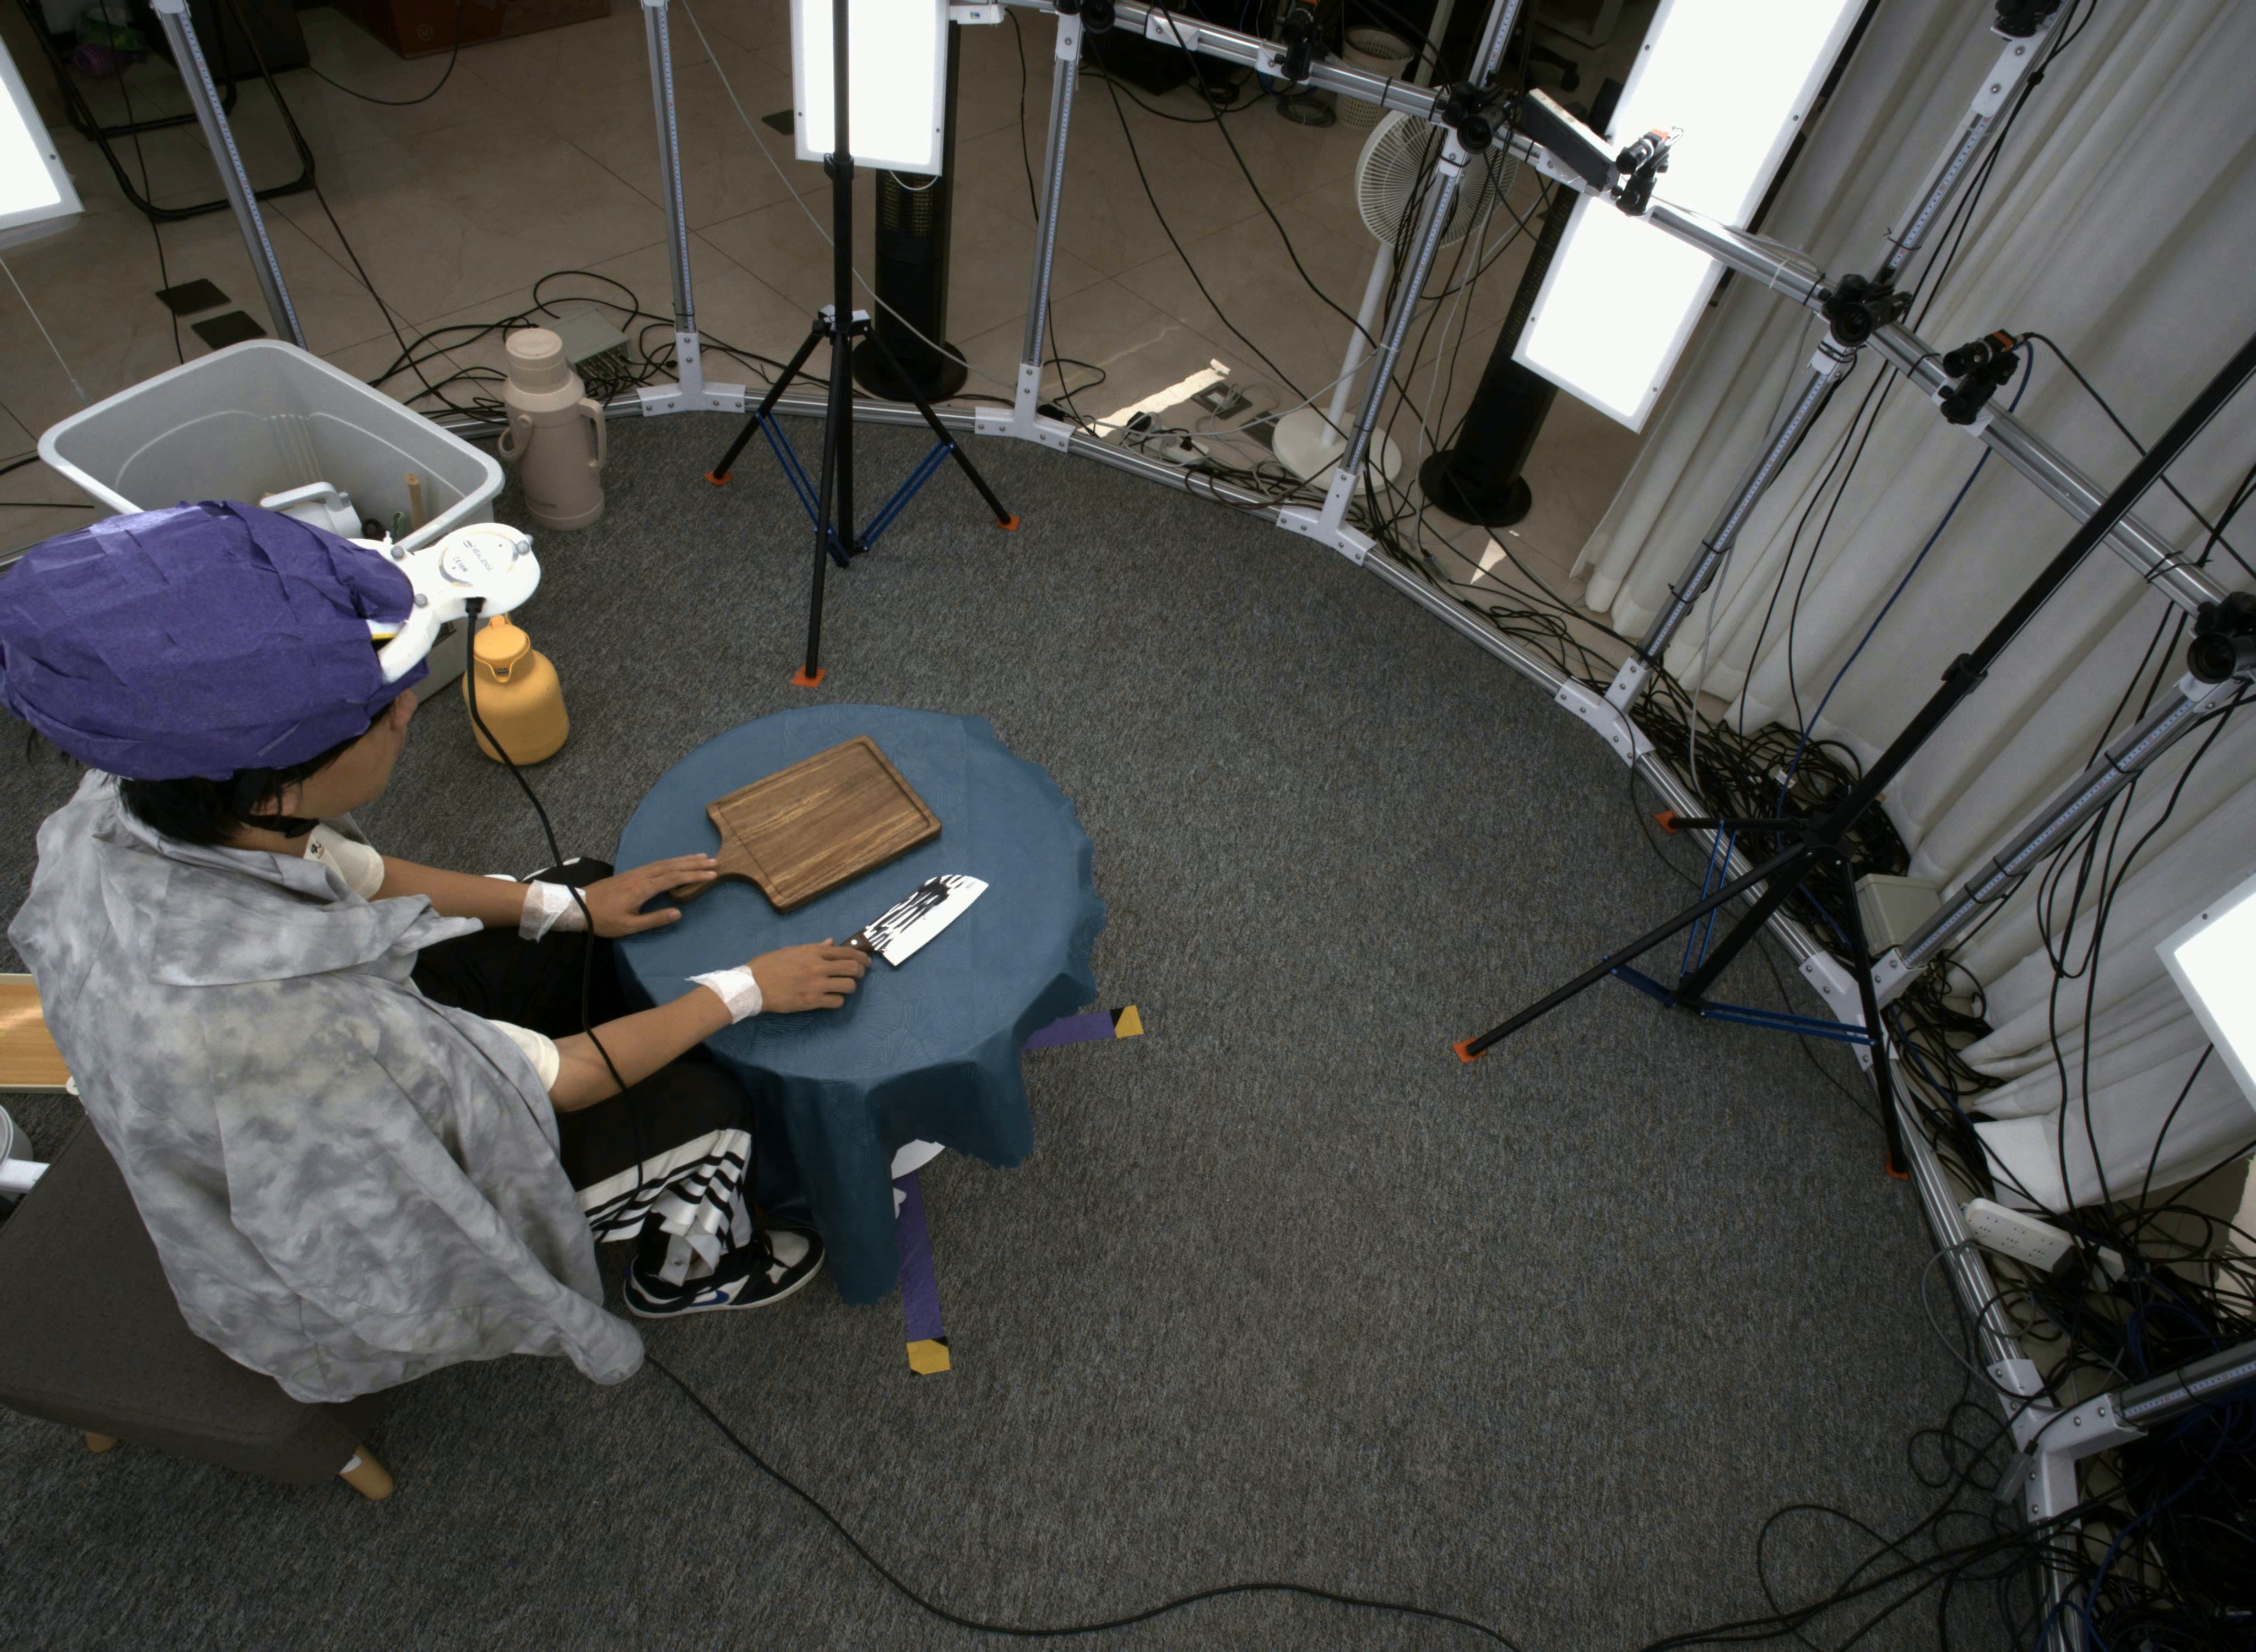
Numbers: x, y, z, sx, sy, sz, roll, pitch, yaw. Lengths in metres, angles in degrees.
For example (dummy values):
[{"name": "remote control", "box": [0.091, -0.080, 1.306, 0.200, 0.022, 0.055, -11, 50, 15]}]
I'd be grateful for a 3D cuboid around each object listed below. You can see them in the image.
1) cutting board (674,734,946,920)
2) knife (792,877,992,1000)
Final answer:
[{"name": "cutting board", "box": [-0.435, 0.015, 1.703, 0.353, 0.023, 0.196, -30, 67, -29]}, {"name": "knife", "box": [-0.291, 0.140, 1.643, 0.067, 0.024, 0.300, 41, 52, 15]}]
